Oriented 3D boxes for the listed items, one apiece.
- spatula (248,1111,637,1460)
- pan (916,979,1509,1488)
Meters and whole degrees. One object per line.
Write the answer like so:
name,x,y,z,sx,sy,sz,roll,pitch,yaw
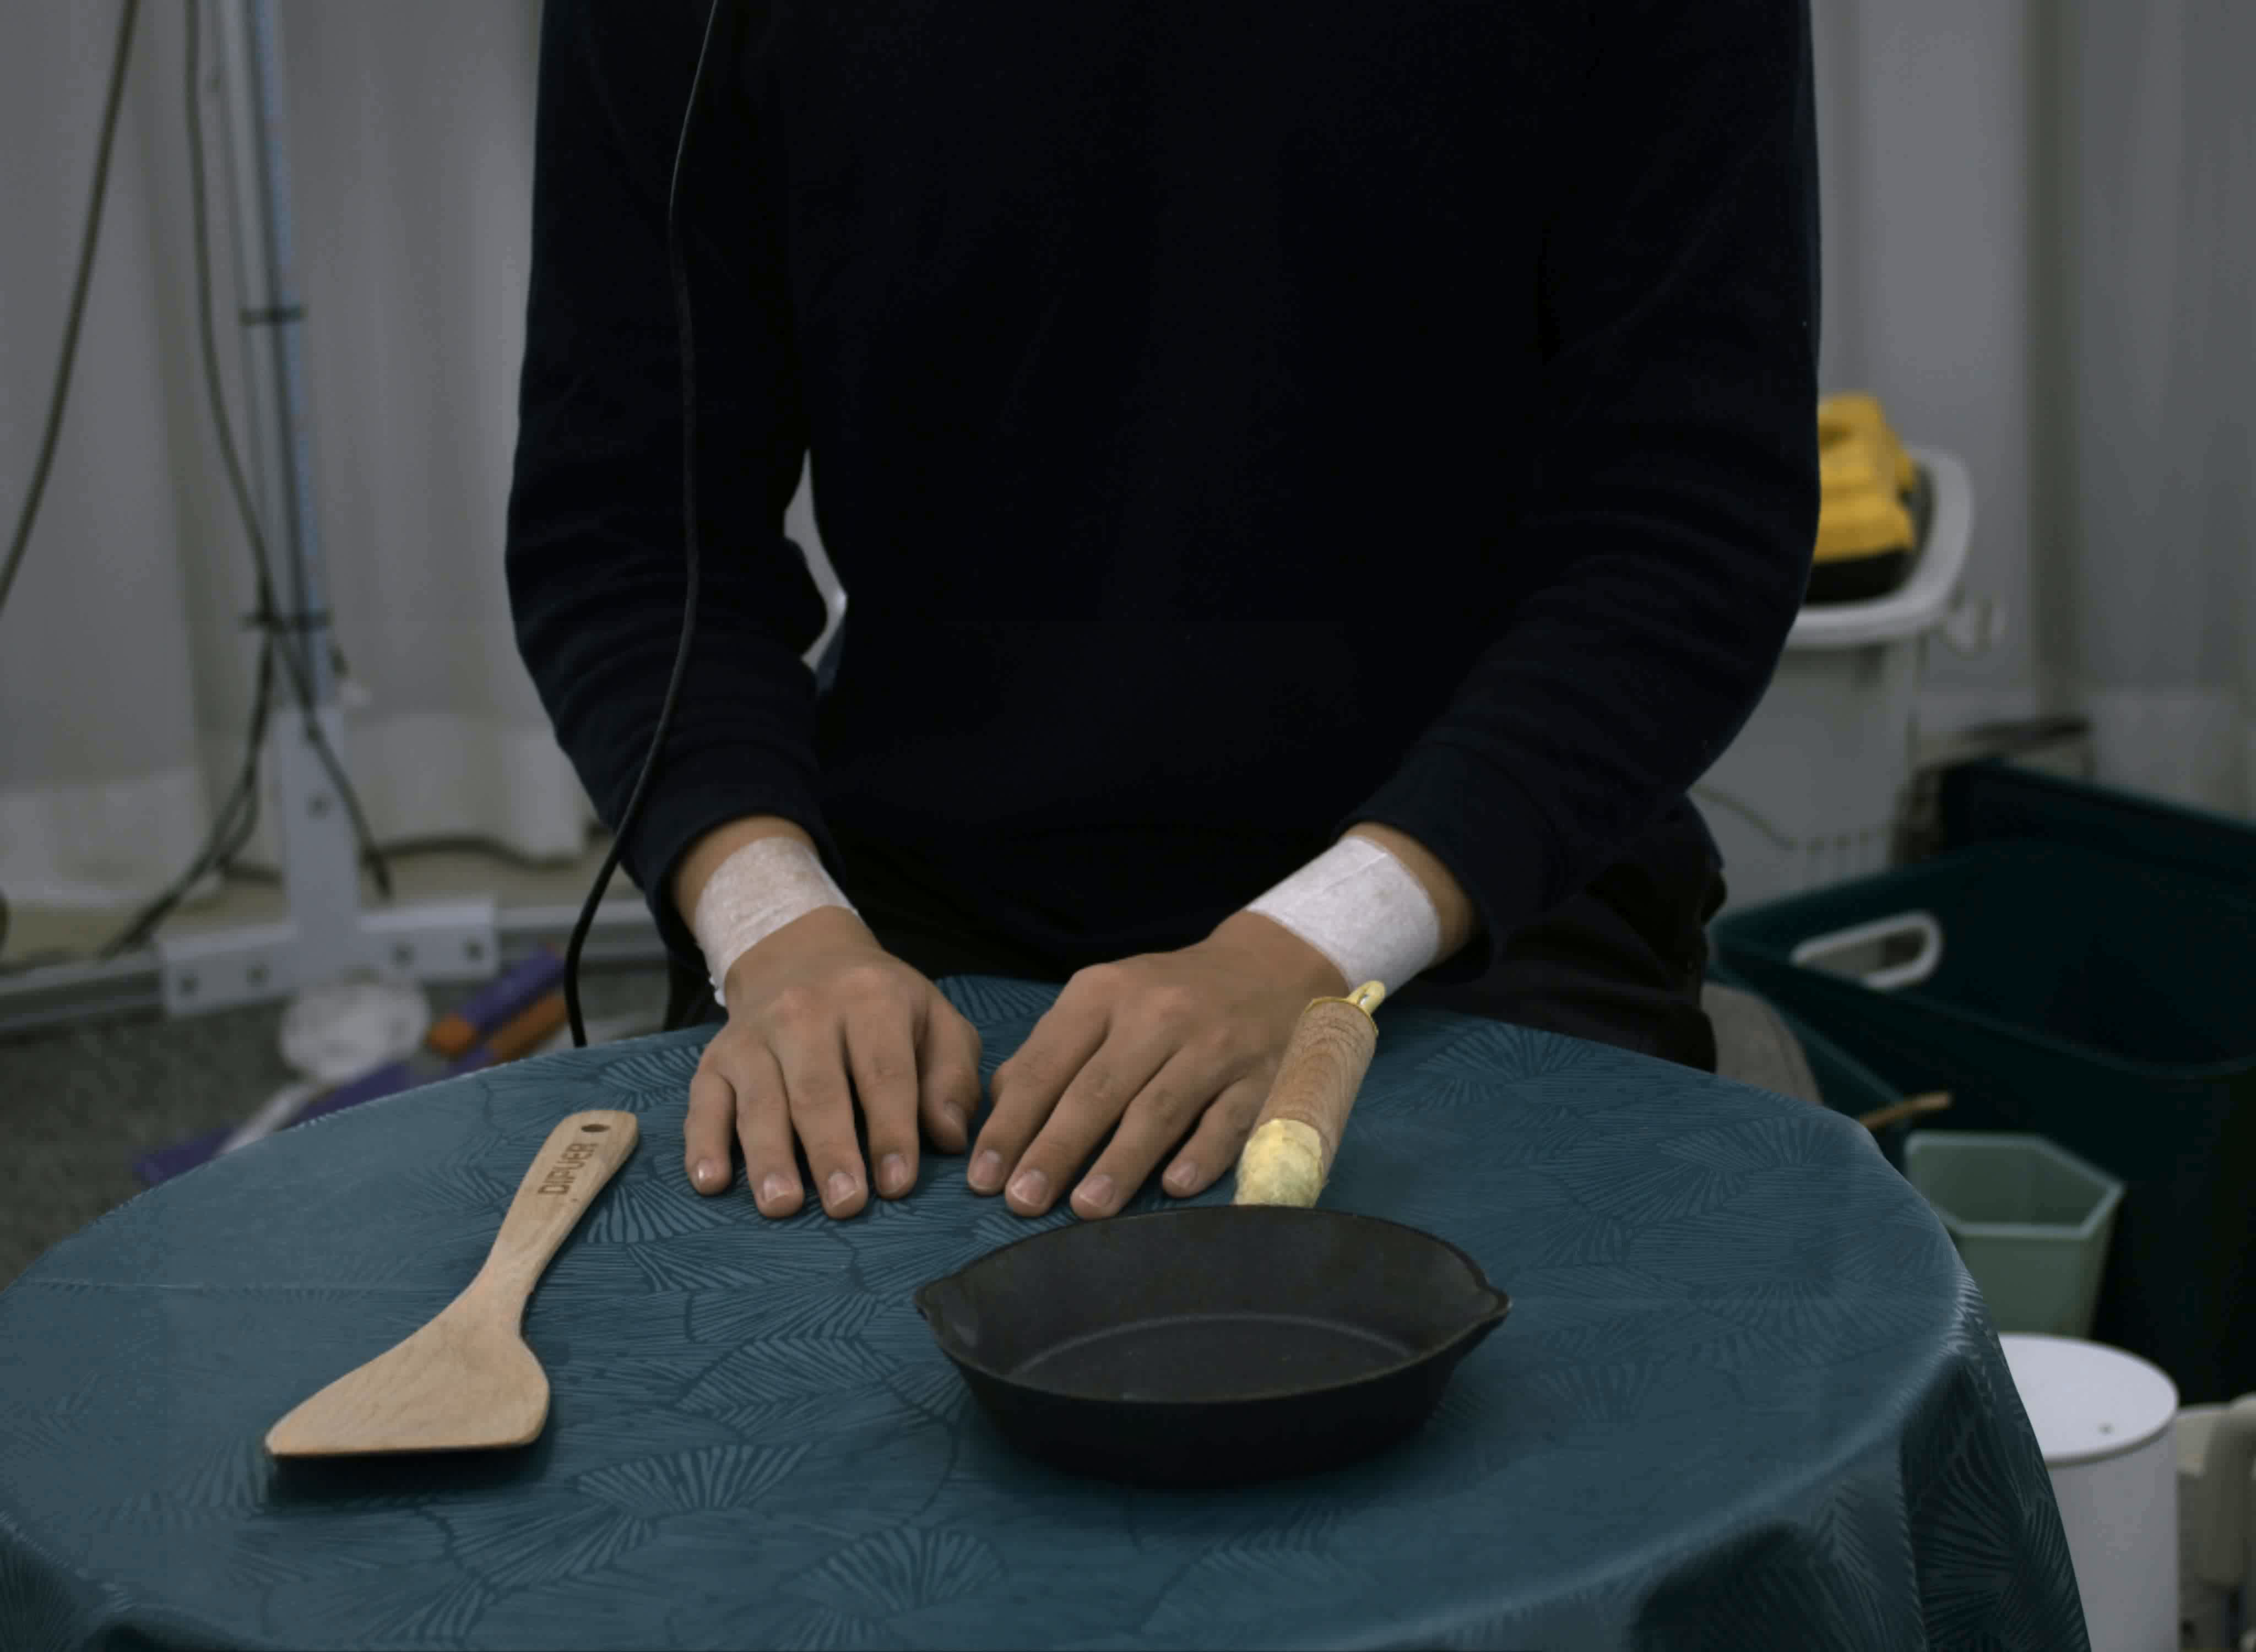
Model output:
spatula,-0.187,0.135,1.644,0.080,0.016,0.329,-1,15,6
pan,0.042,0.116,1.605,0.169,0.049,0.326,1,17,14
